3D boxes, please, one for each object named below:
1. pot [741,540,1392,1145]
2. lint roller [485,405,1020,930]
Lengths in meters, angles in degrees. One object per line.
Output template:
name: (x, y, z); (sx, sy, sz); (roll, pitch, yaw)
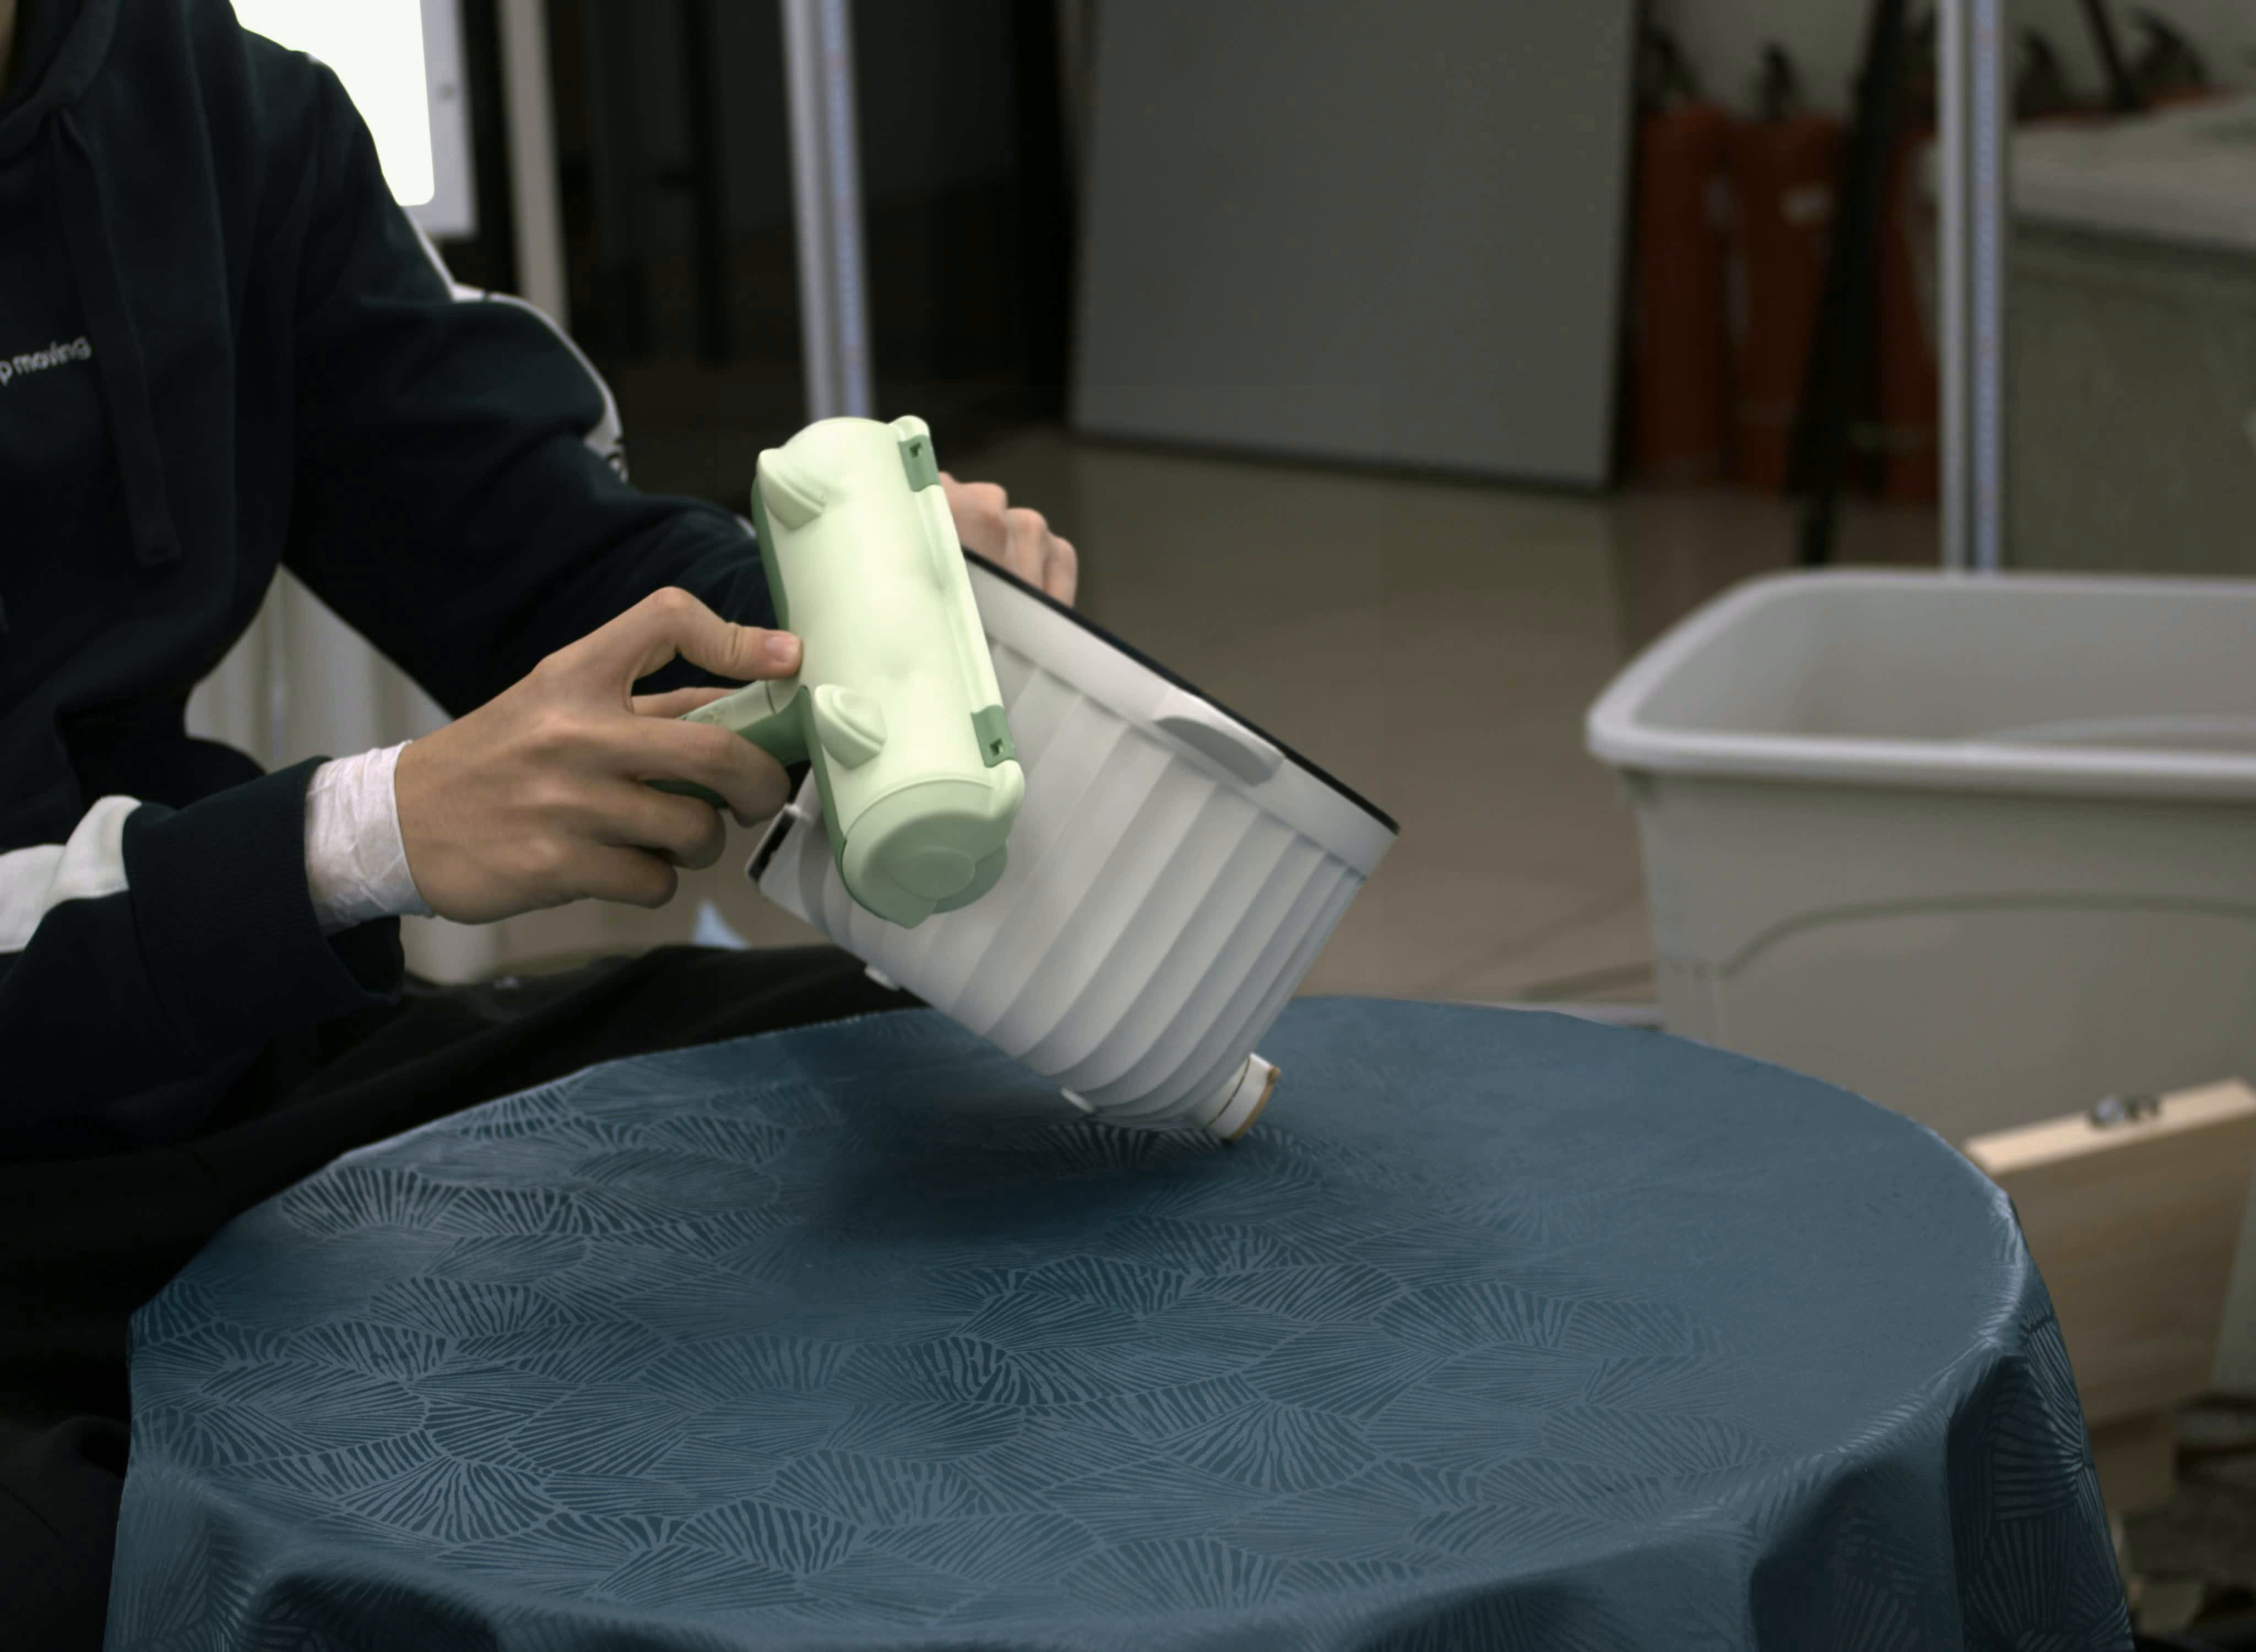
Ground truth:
pot: (-0.018, 0.012, 1.799); (0.188, 0.143, 0.241); (29, 1, -12)
lint roller: (-0.133, -0.038, 1.713); (0.182, 0.082, 0.201); (-23, 44, 6)
